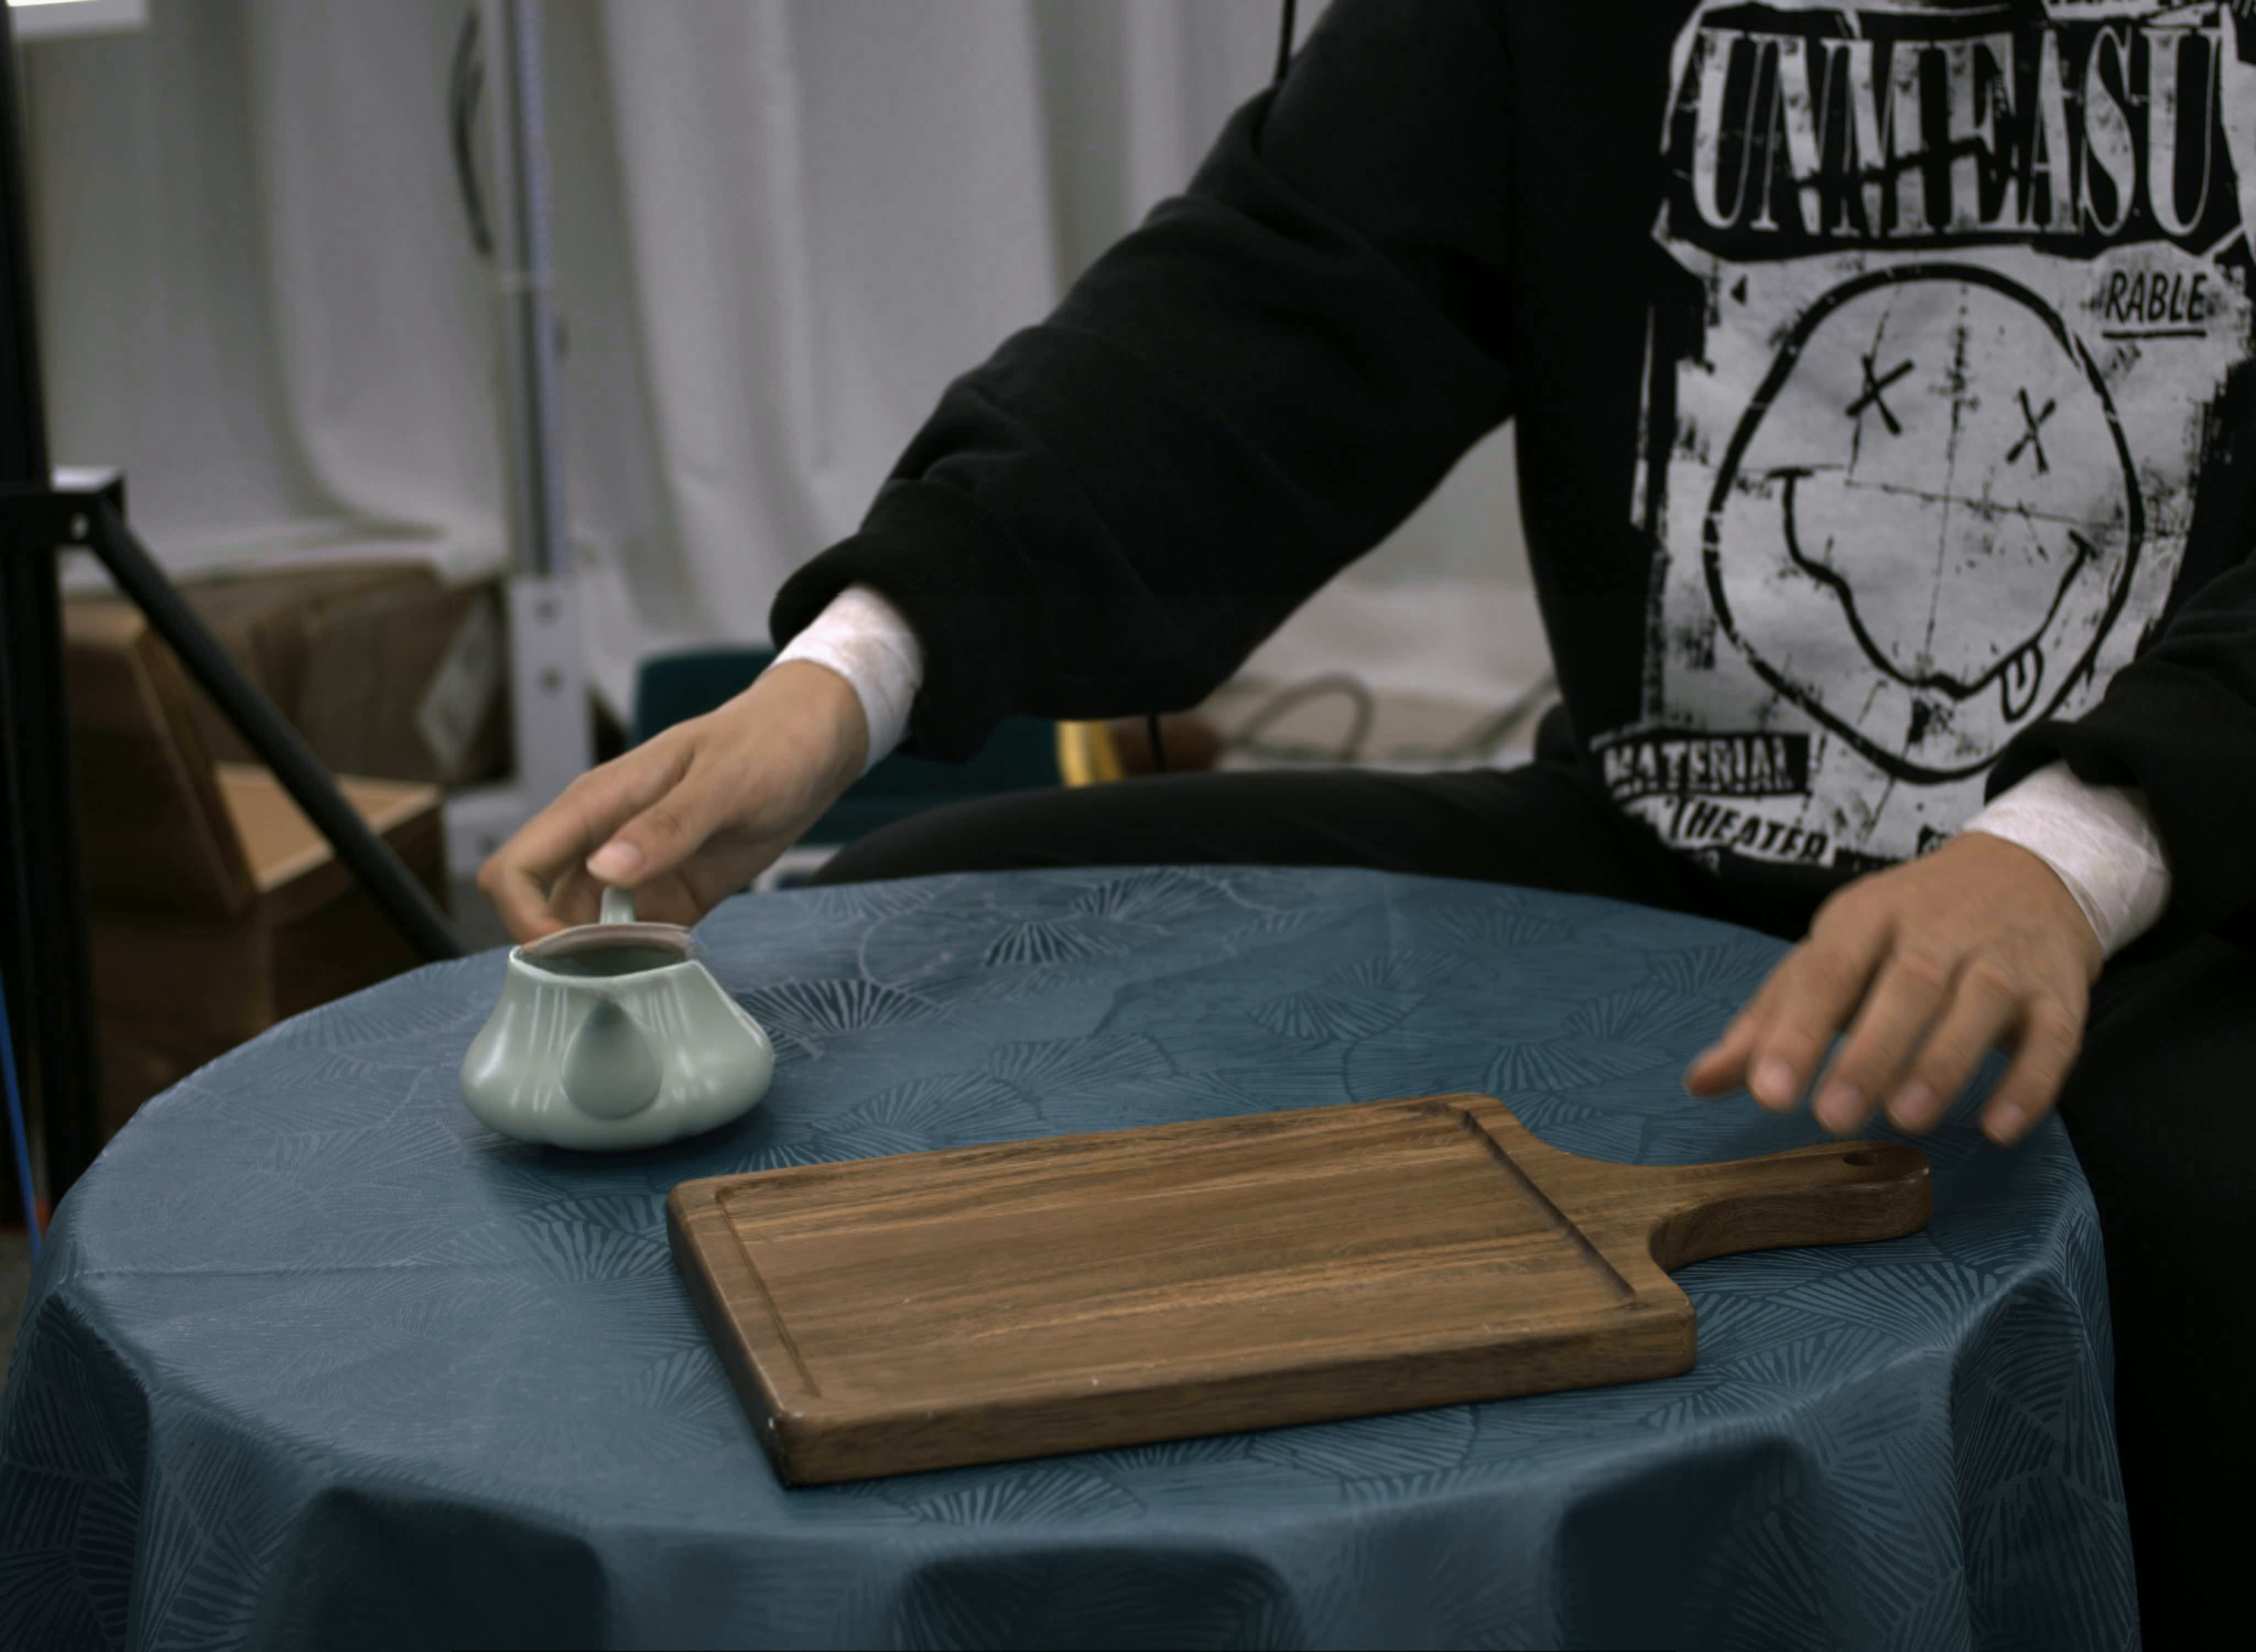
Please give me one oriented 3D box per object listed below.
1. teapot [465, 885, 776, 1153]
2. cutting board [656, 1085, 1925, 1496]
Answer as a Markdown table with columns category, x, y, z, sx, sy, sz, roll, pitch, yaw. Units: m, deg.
| category | x | y | z | sx | sy | sz | roll | pitch | yaw |
| --- | --- | --- | --- | --- | --- | --- | --- | --- | --- |
| teapot | -0.156 | 0.062 | 1.634 | 0.095 | 0.061 | 0.138 | -6 | 16 | -3 |
| cutting board | 0.057 | 0.119 | 1.468 | 0.347 | 0.023 | 0.204 | -6 | 16 | -12 |
